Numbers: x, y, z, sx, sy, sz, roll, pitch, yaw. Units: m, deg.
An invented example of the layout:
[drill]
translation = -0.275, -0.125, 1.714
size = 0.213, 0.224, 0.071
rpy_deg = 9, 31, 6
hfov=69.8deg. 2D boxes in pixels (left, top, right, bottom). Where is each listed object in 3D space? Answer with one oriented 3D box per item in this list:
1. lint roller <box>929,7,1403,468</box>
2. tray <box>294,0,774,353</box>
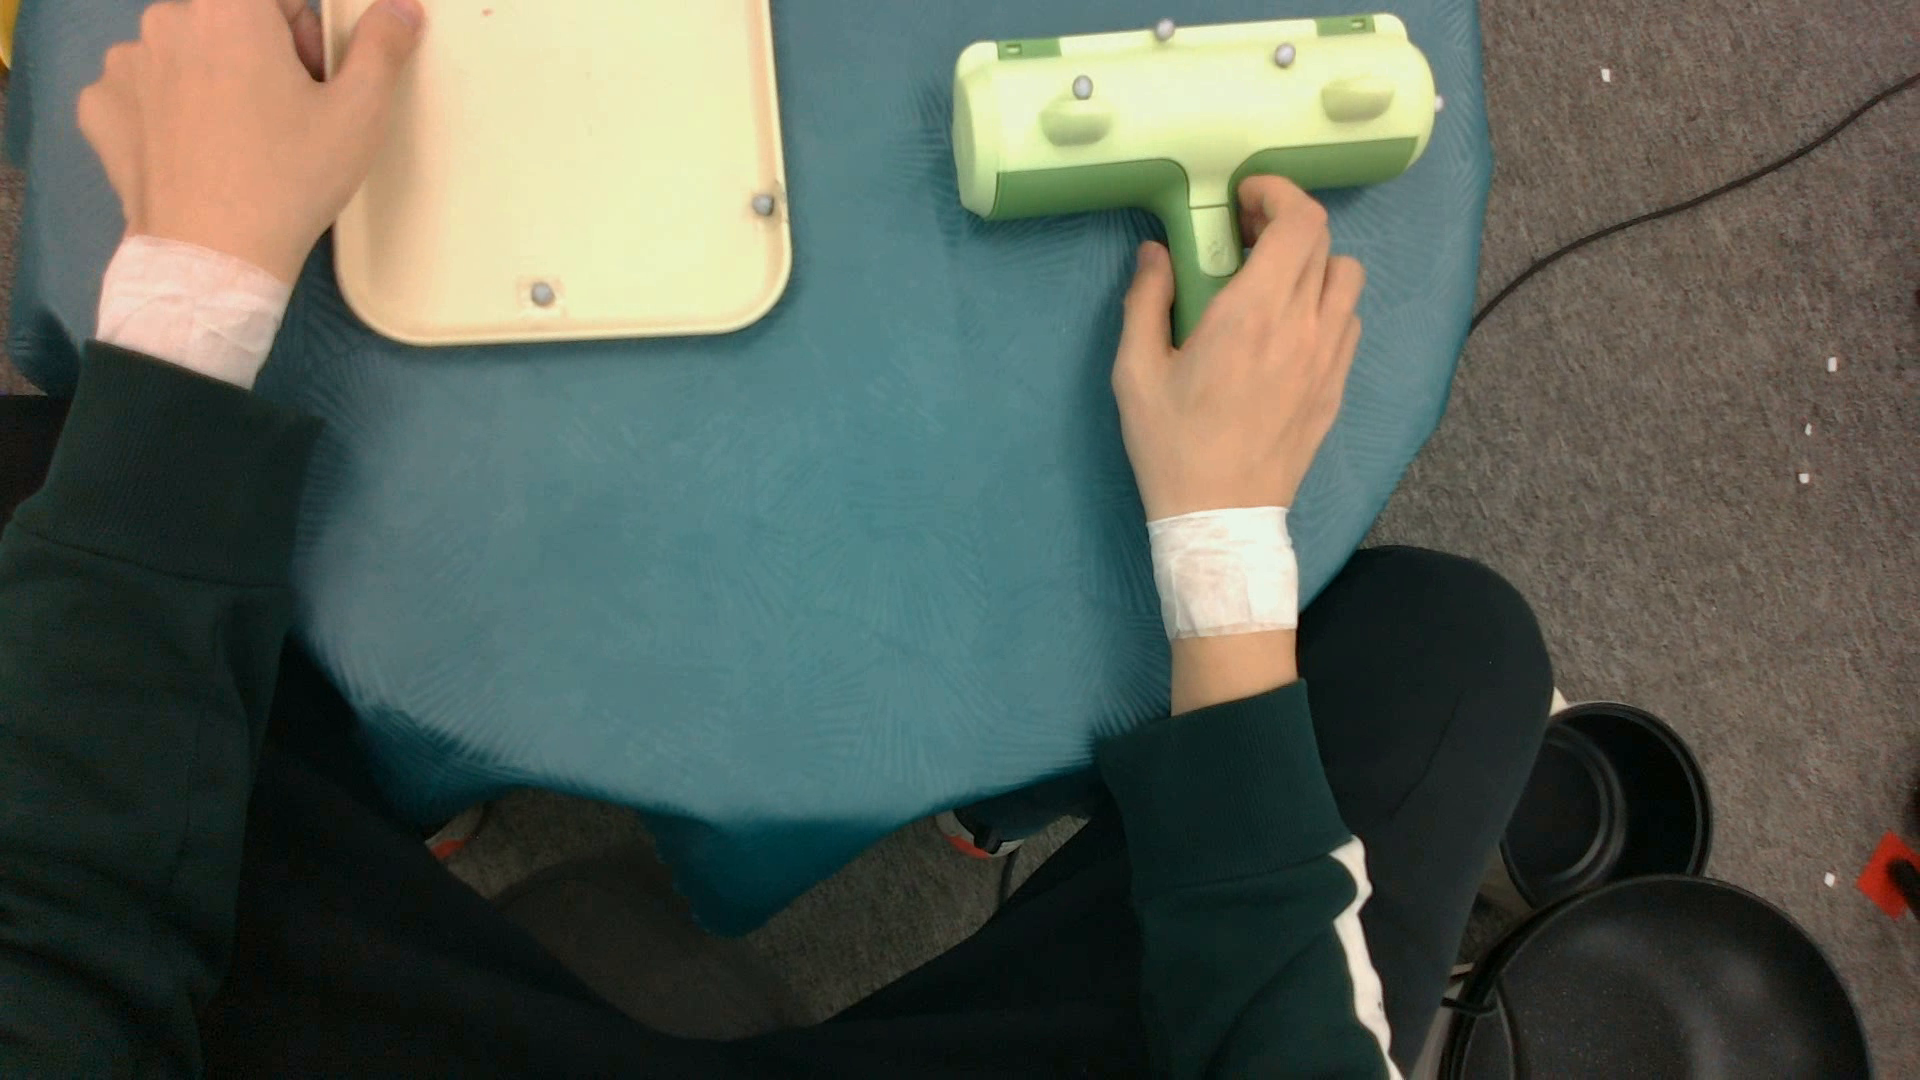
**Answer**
[lint roller]
translation = 0.097, -0.125, 0.560
size = 0.199, 0.082, 0.183
rpy_deg = -9, 82, -12
[tray]
translation = -0.170, -0.195, 0.547
size = 0.171, 0.017, 0.240
rpy_deg = -7, 86, -11
